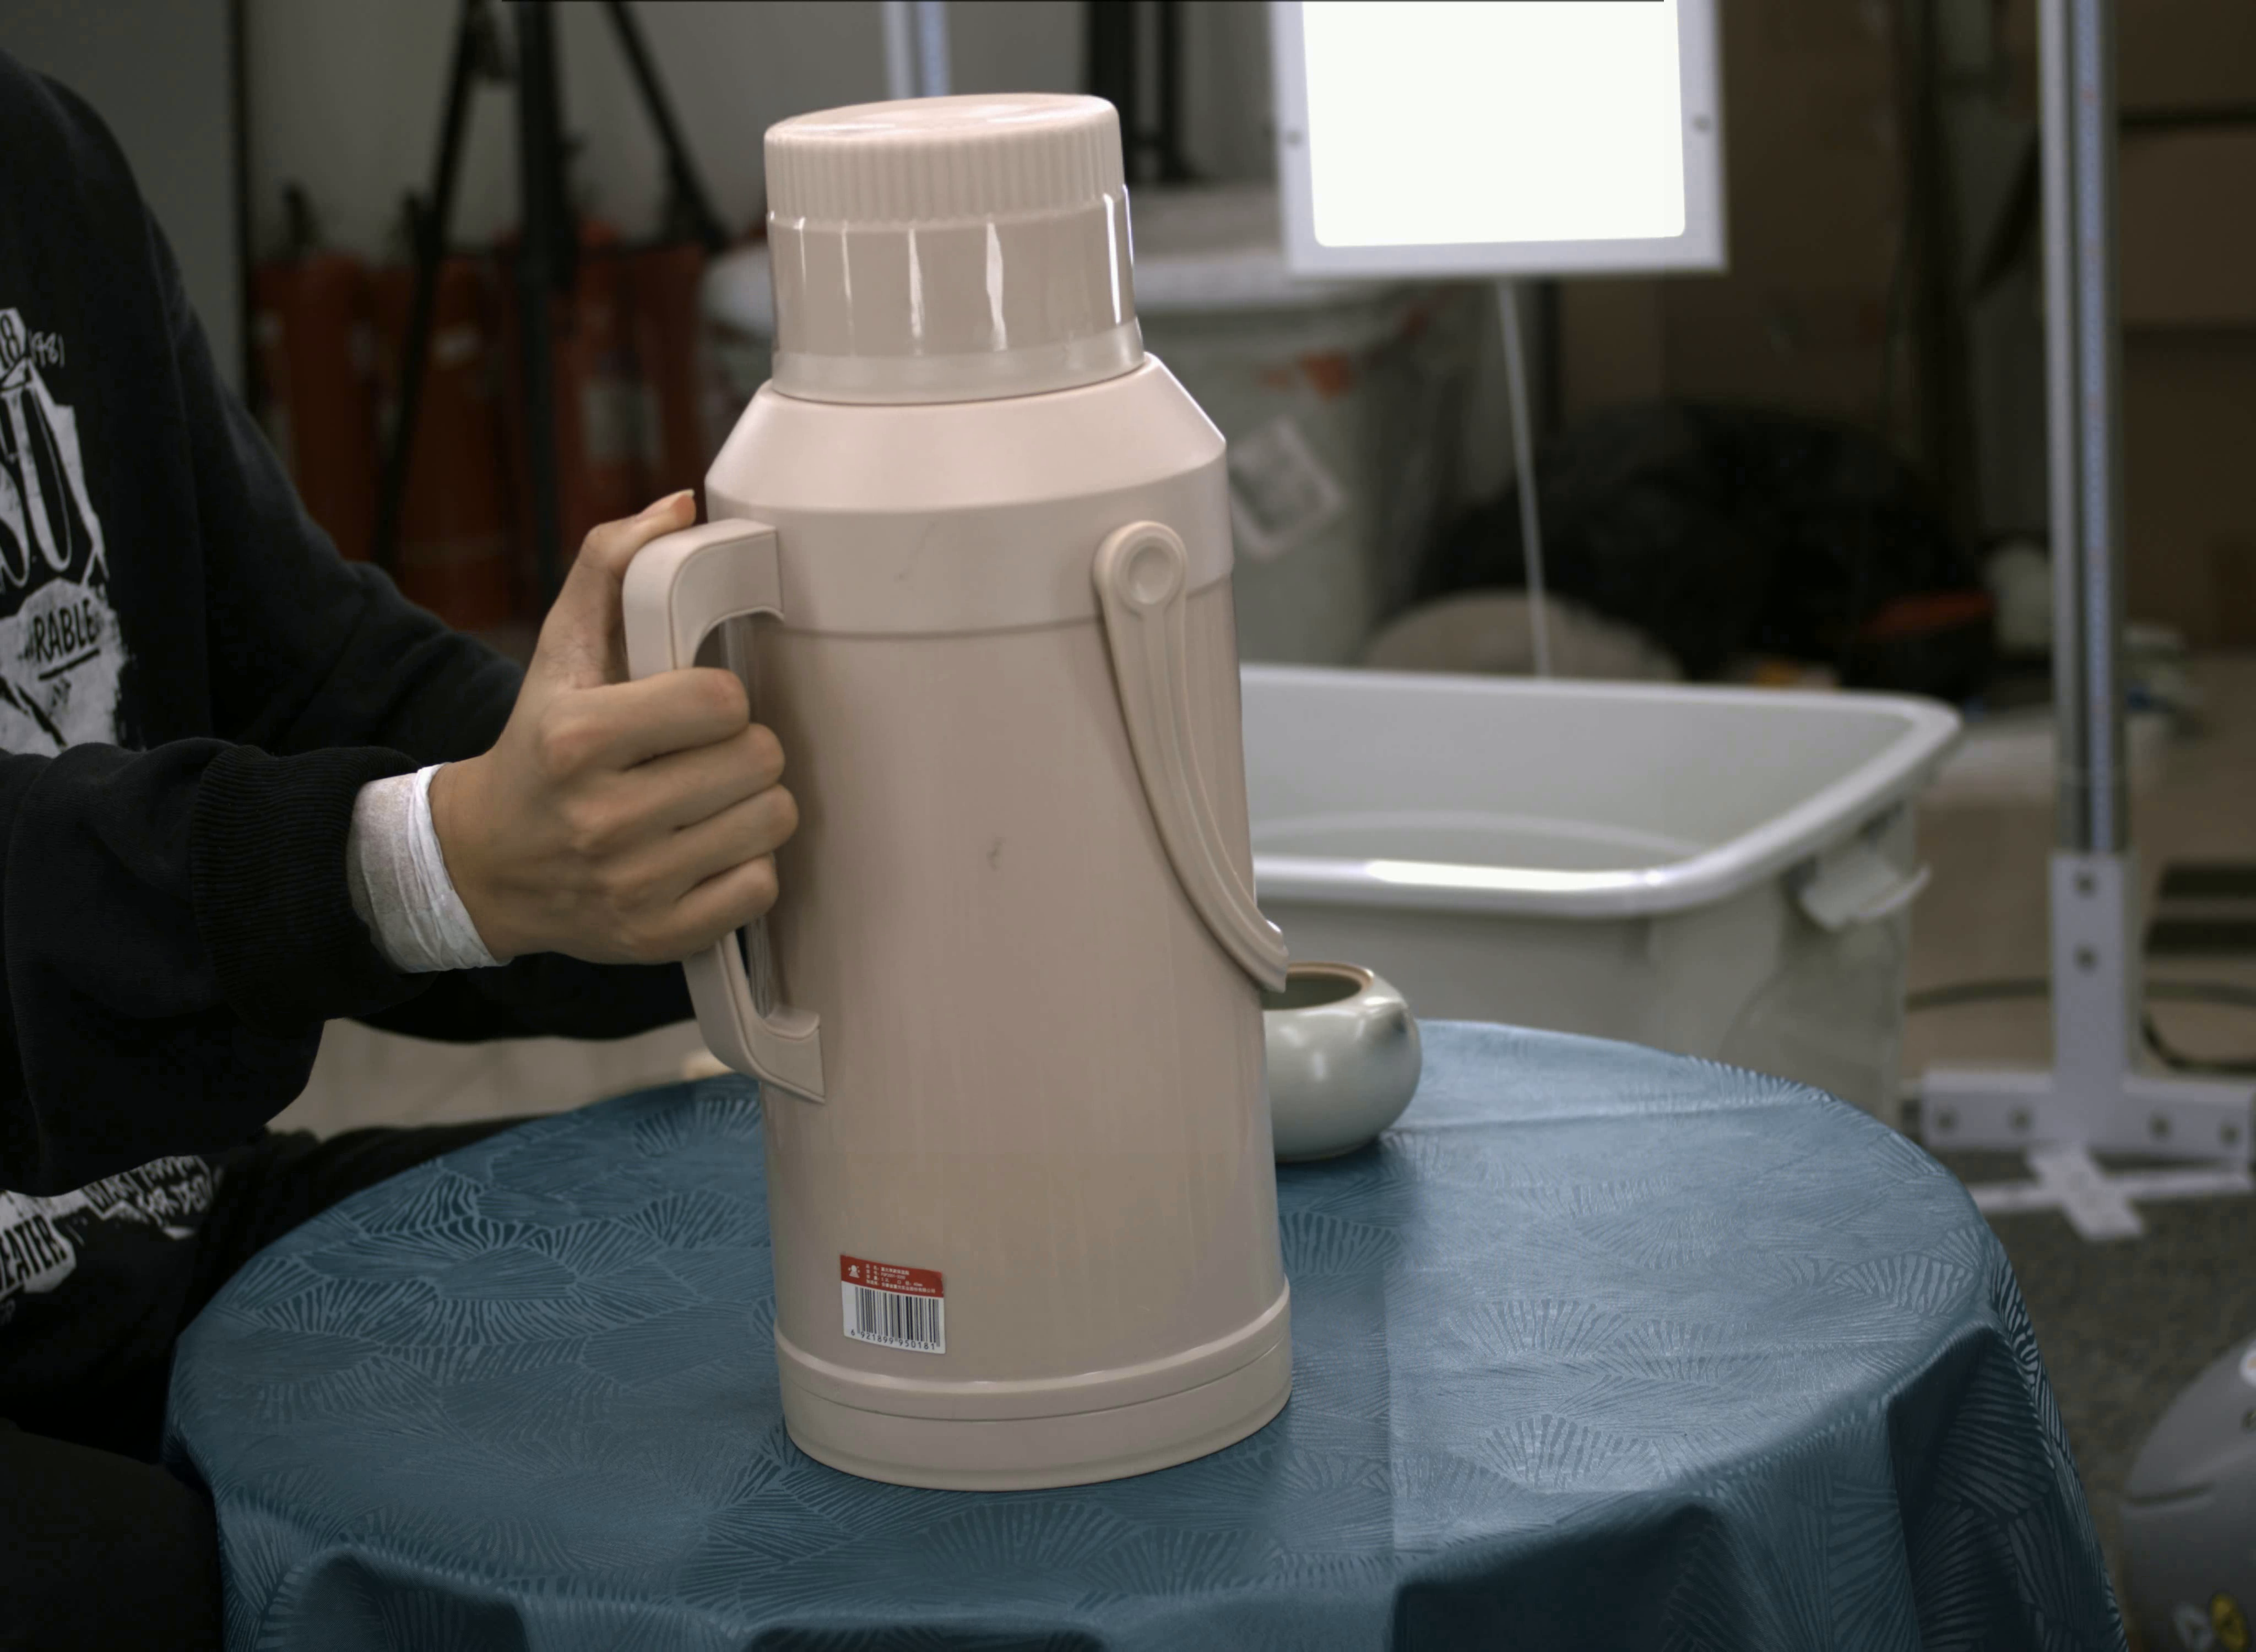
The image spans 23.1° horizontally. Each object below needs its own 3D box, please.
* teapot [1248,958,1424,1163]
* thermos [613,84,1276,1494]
[{"bbox_3d":[0.051,0.081,1.940,0.131,0.060,0.089,7,22,38],"label":"teapot"},{"bbox_3d":[-0.057,-0.011,1.648,0.202,0.408,0.179,-14,18,-35],"label":"thermos"}]
